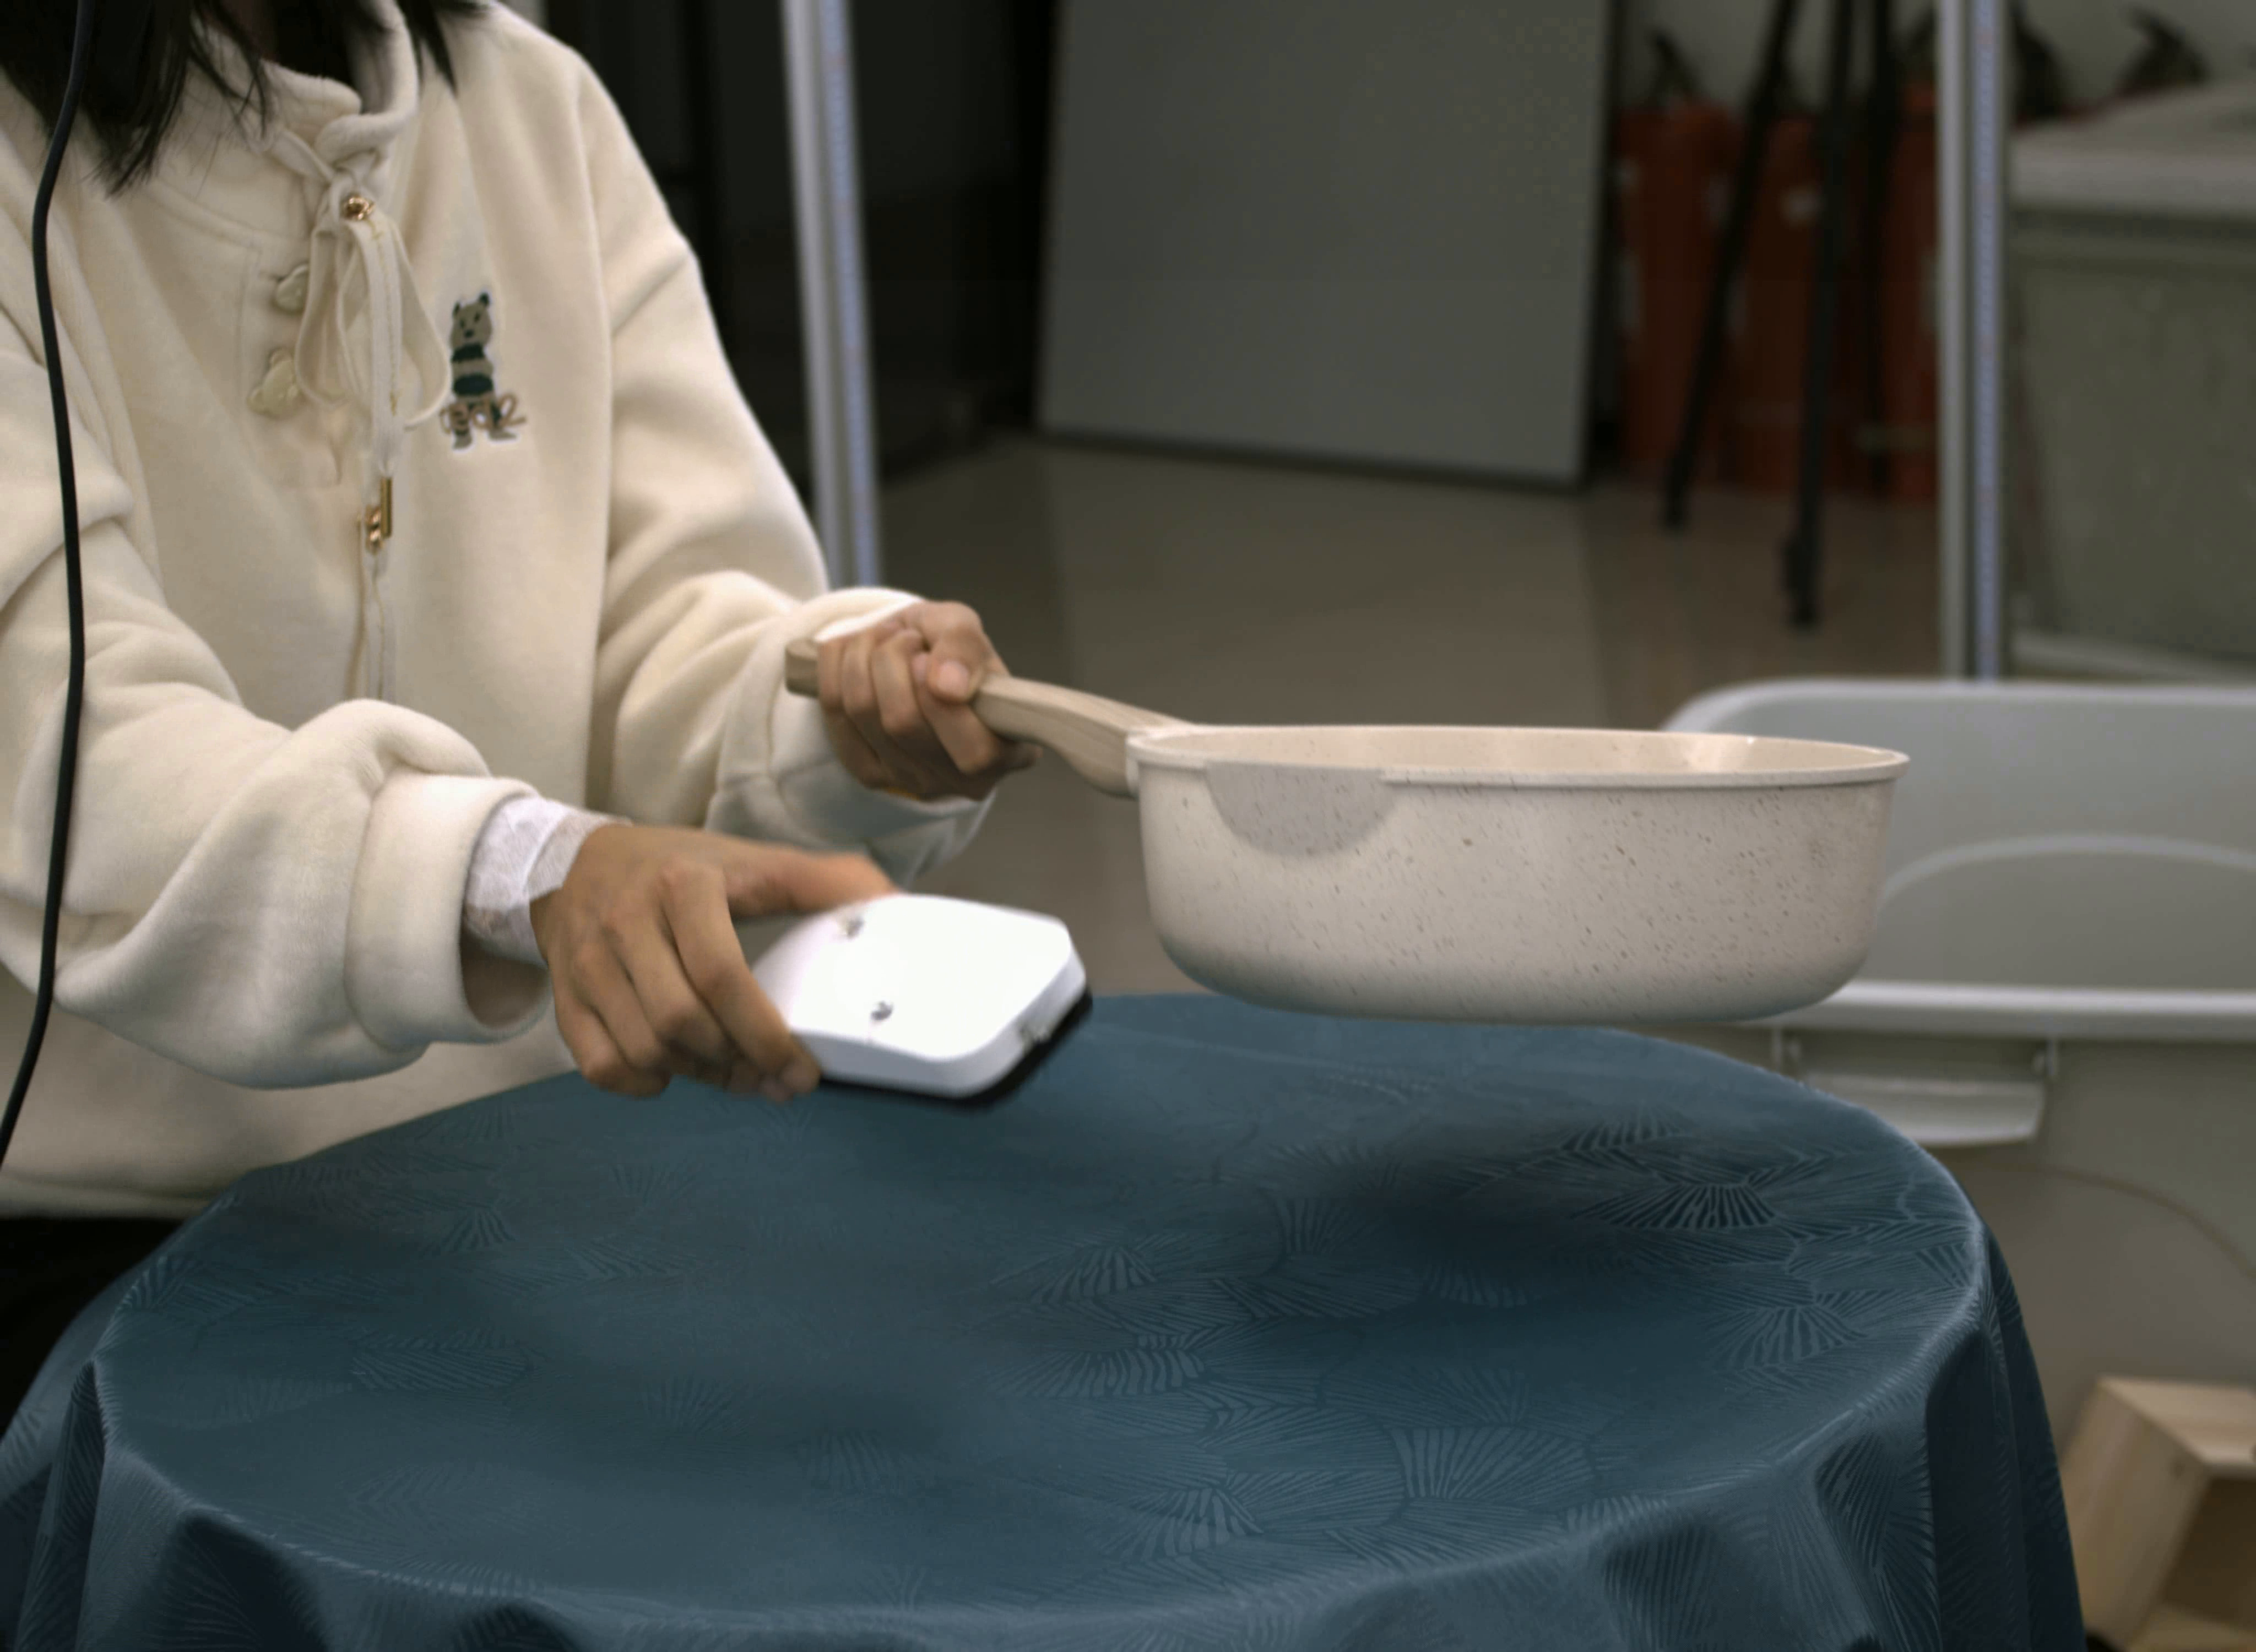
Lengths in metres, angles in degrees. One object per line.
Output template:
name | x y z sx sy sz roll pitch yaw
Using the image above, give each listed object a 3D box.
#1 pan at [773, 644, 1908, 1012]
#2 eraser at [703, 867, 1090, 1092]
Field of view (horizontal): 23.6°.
pan | 0.051 -0.003 1.776 0.438 0.103 0.258 4 5 39
eraser | -0.069 0.046 1.601 0.132 0.034 0.063 3 41 50
